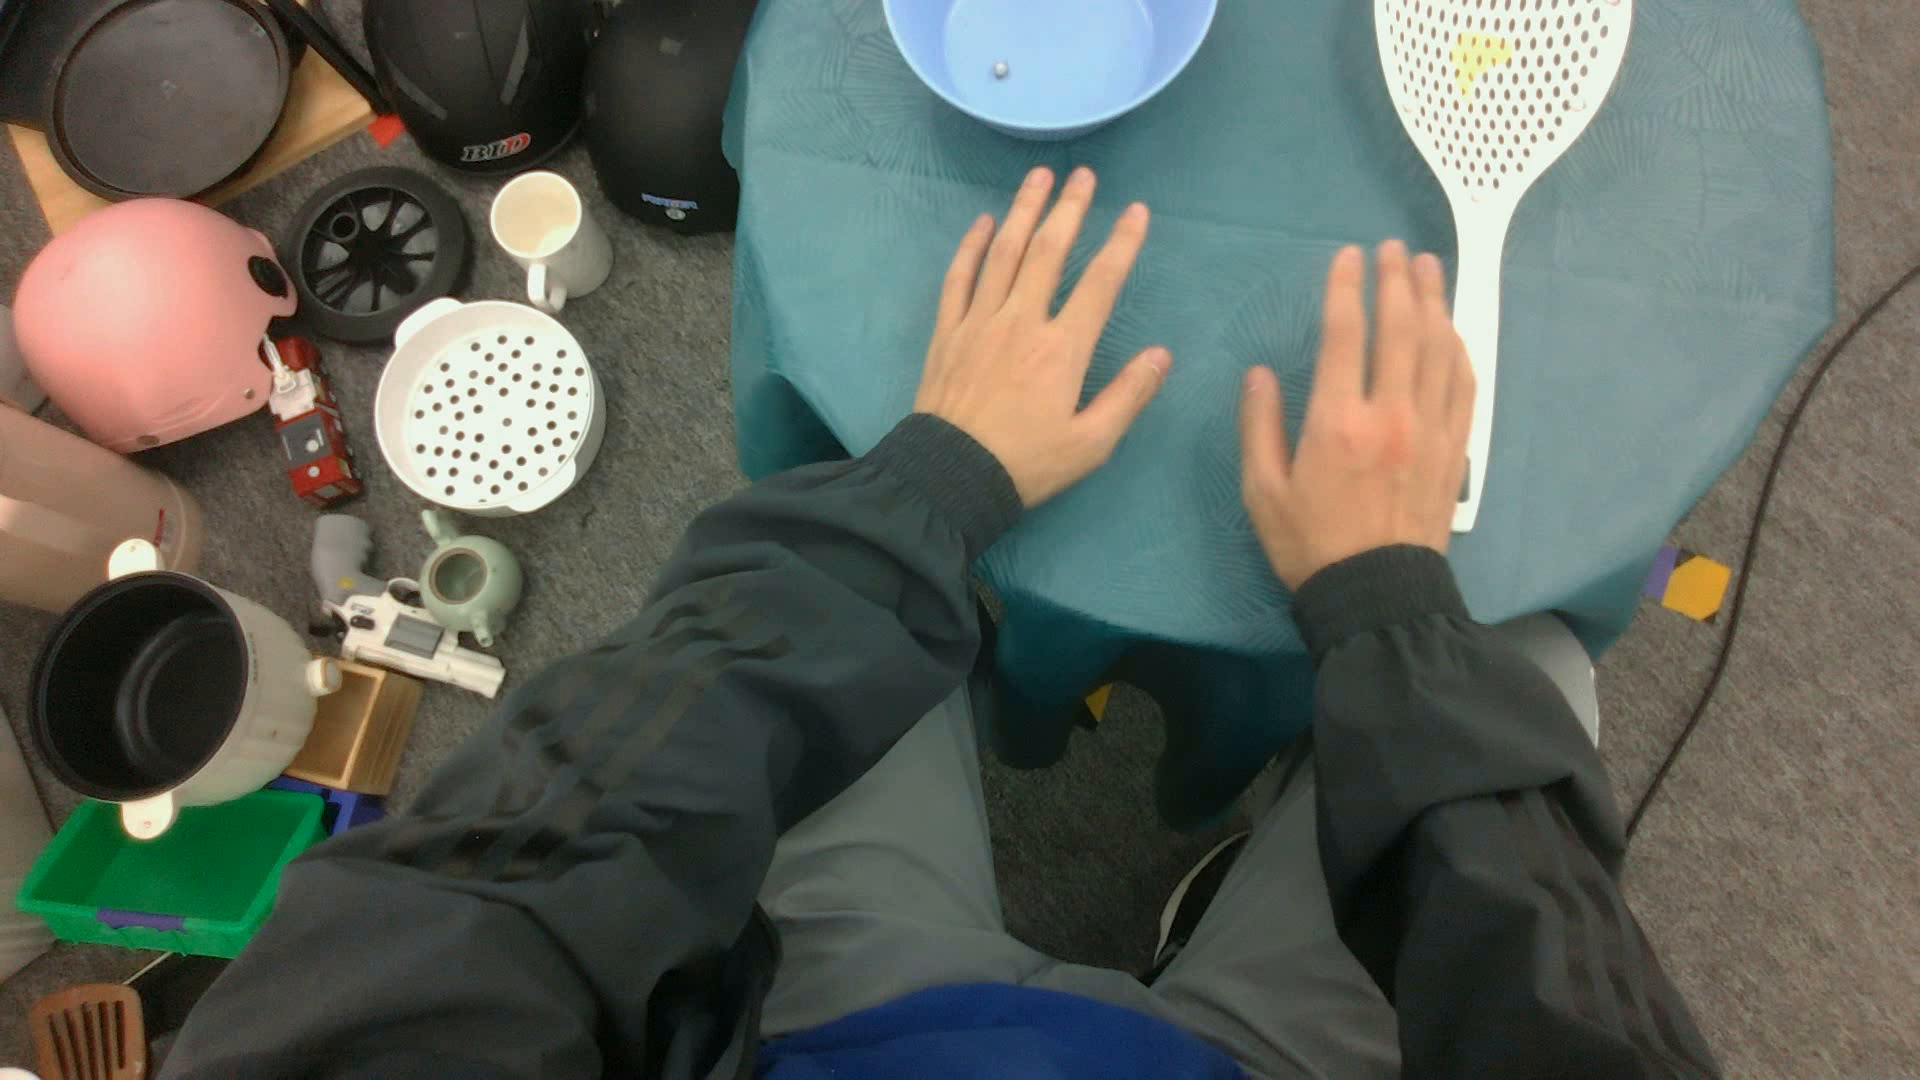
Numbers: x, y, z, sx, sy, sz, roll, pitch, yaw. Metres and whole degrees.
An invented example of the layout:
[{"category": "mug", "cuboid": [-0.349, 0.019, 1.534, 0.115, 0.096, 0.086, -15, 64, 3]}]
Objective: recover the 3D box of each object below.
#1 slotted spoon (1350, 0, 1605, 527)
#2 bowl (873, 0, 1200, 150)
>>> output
[{"category": "slotted spoon", "cuboid": [0.270, -0.181, 0.738, 0.137, 0.050, 0.348, 5, 77, 2]}, {"category": "bowl", "cuboid": [0.043, -0.286, 0.764, 0.176, 0.070, 0.176, -1, 76, 4]}]
